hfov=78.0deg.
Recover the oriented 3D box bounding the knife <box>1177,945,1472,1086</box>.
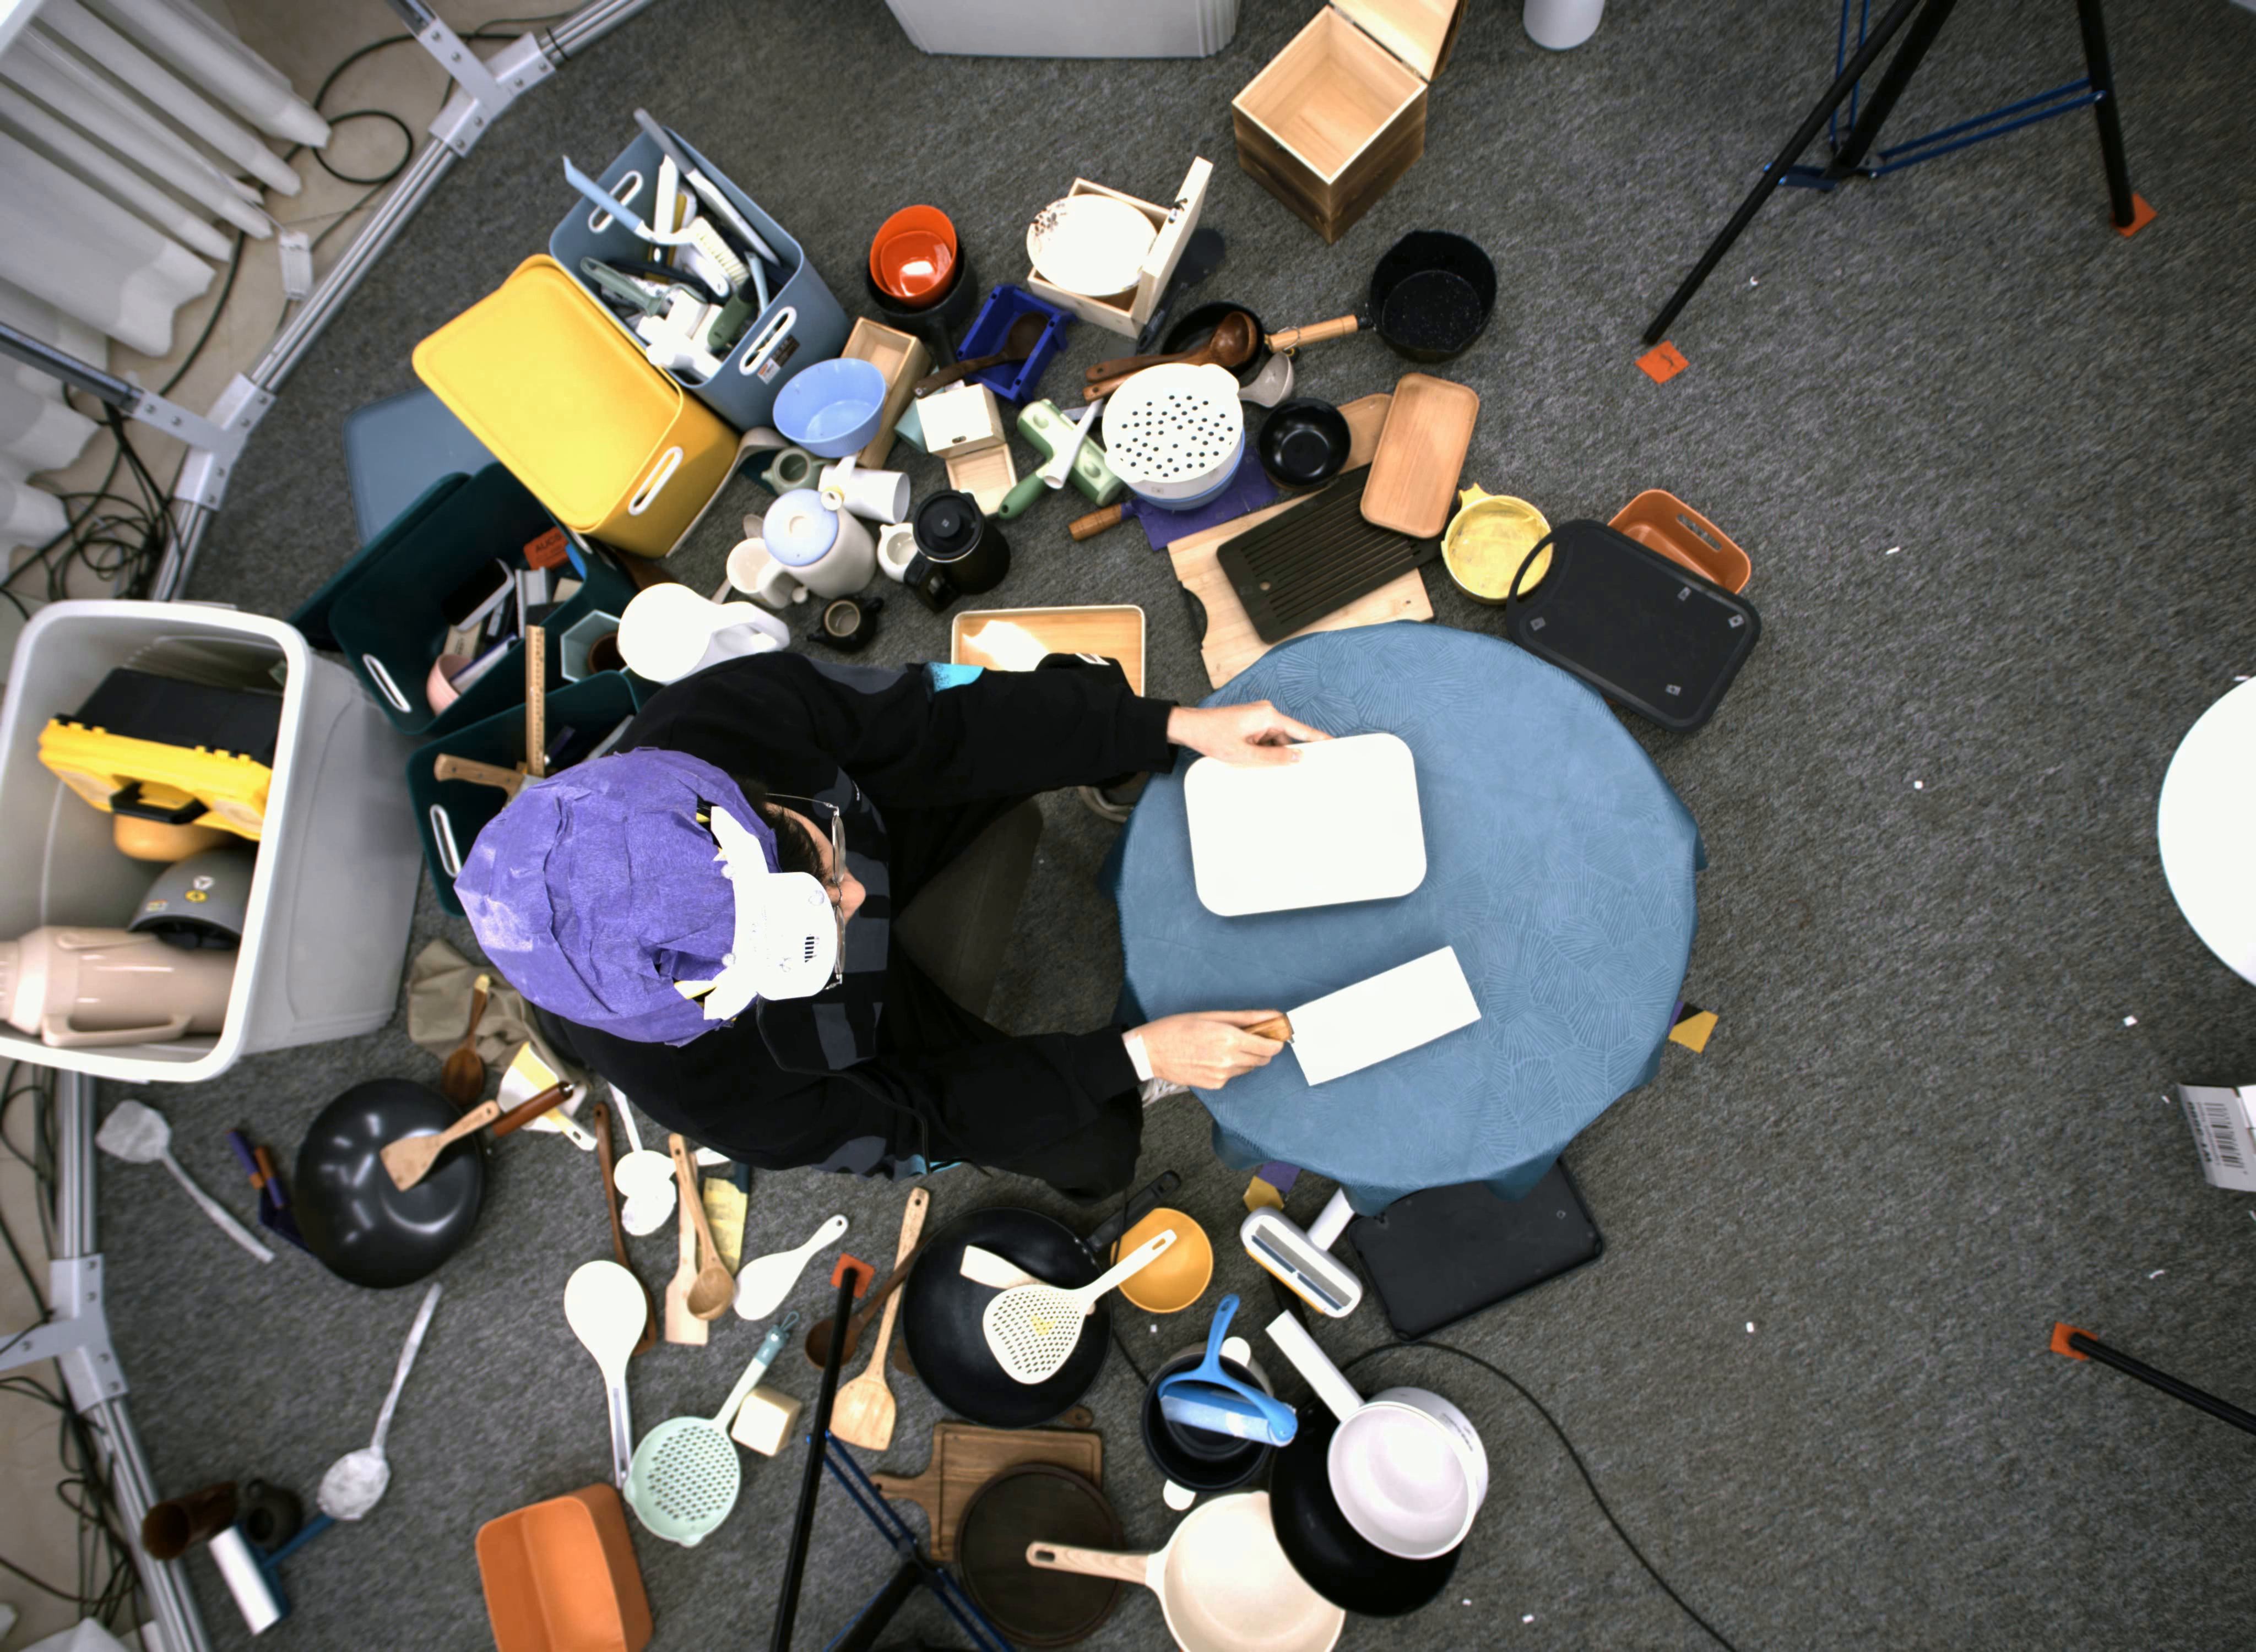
[{"bbox_3d":[0.203,0.214,1.422,0.308,0.020,0.094,-25,109,12],"label":"knife"}]

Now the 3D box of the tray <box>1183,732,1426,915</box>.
[{"bbox_3d":[0.183,-0.003,1.439,0.240,0.017,0.171,-7,89,6],"label":"tray"}]
